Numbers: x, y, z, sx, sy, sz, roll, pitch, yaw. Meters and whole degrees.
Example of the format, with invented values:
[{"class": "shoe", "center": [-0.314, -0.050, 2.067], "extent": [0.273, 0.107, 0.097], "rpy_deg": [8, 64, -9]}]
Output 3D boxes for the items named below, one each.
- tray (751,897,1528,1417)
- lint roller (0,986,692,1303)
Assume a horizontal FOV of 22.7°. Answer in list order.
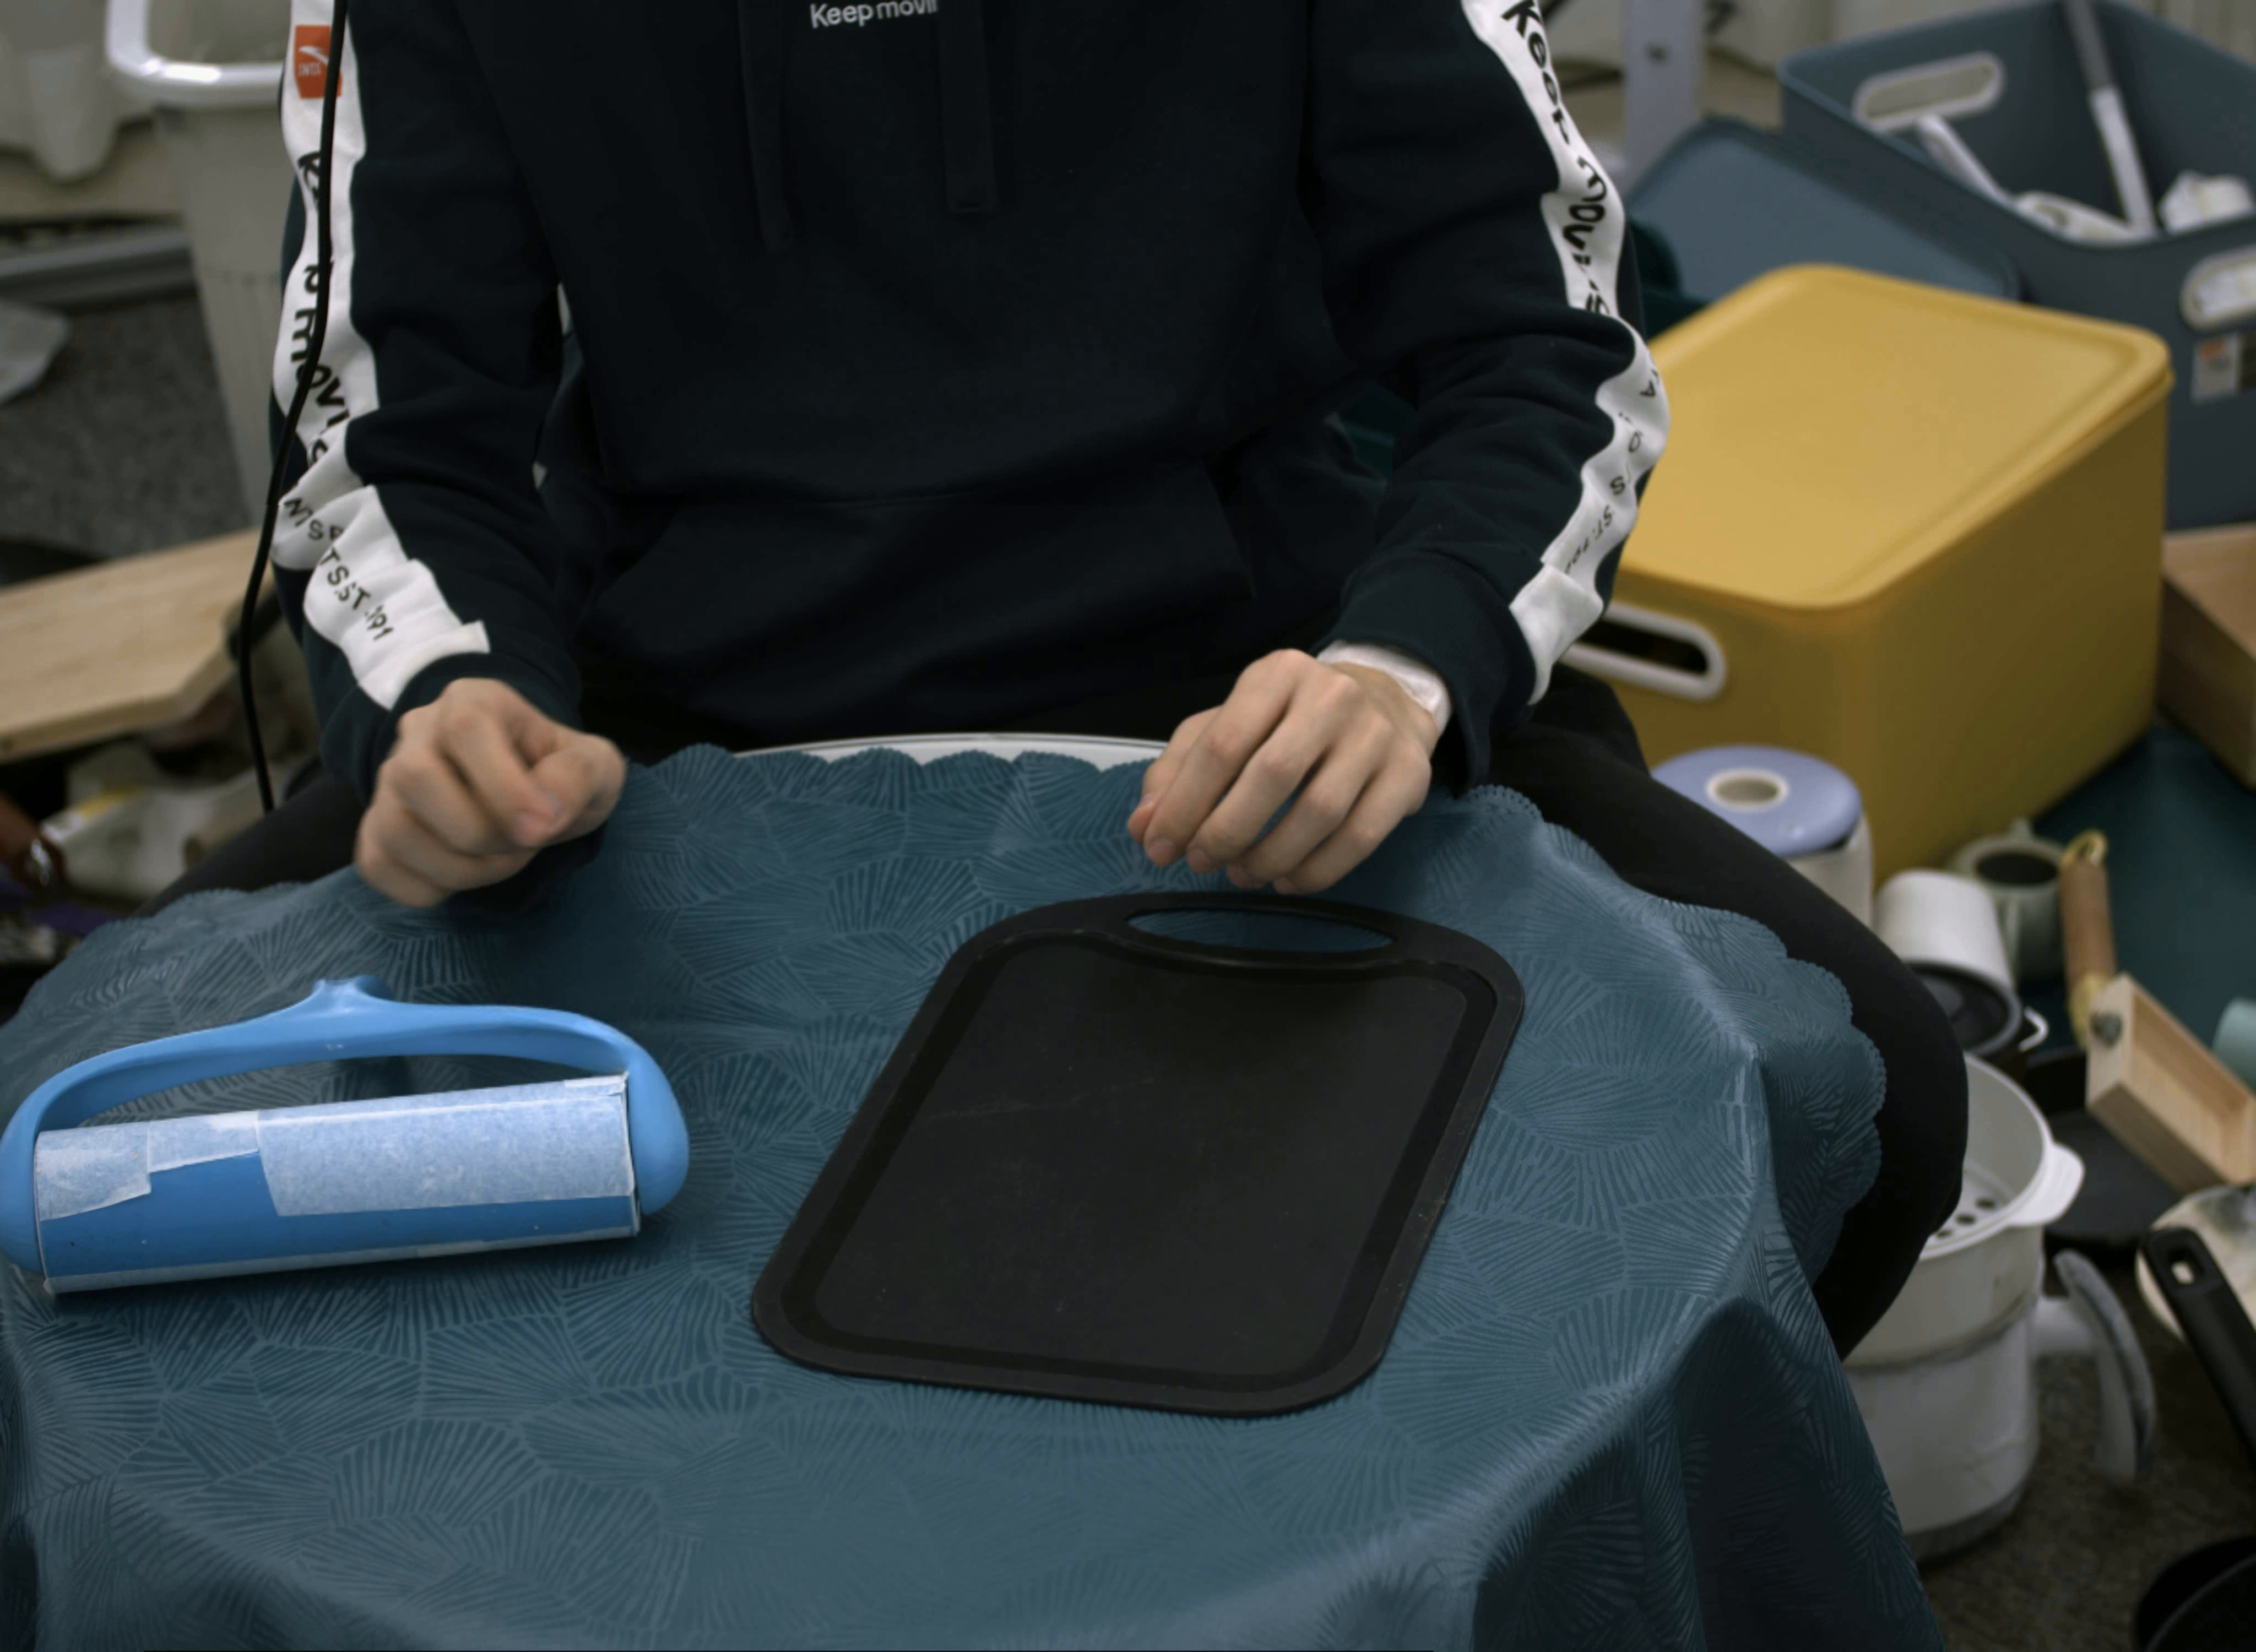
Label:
[{"class": "tray", "center": [0.011, 0.101, 1.892], "extent": [0.209, 0.009, 0.331], "rpy_deg": [5, 28, 15]}, {"class": "lint roller", "center": [-0.265, 0.090, 1.887], "extent": [0.228, 0.067, 0.182], "rpy_deg": [-8, 29, -6]}]
